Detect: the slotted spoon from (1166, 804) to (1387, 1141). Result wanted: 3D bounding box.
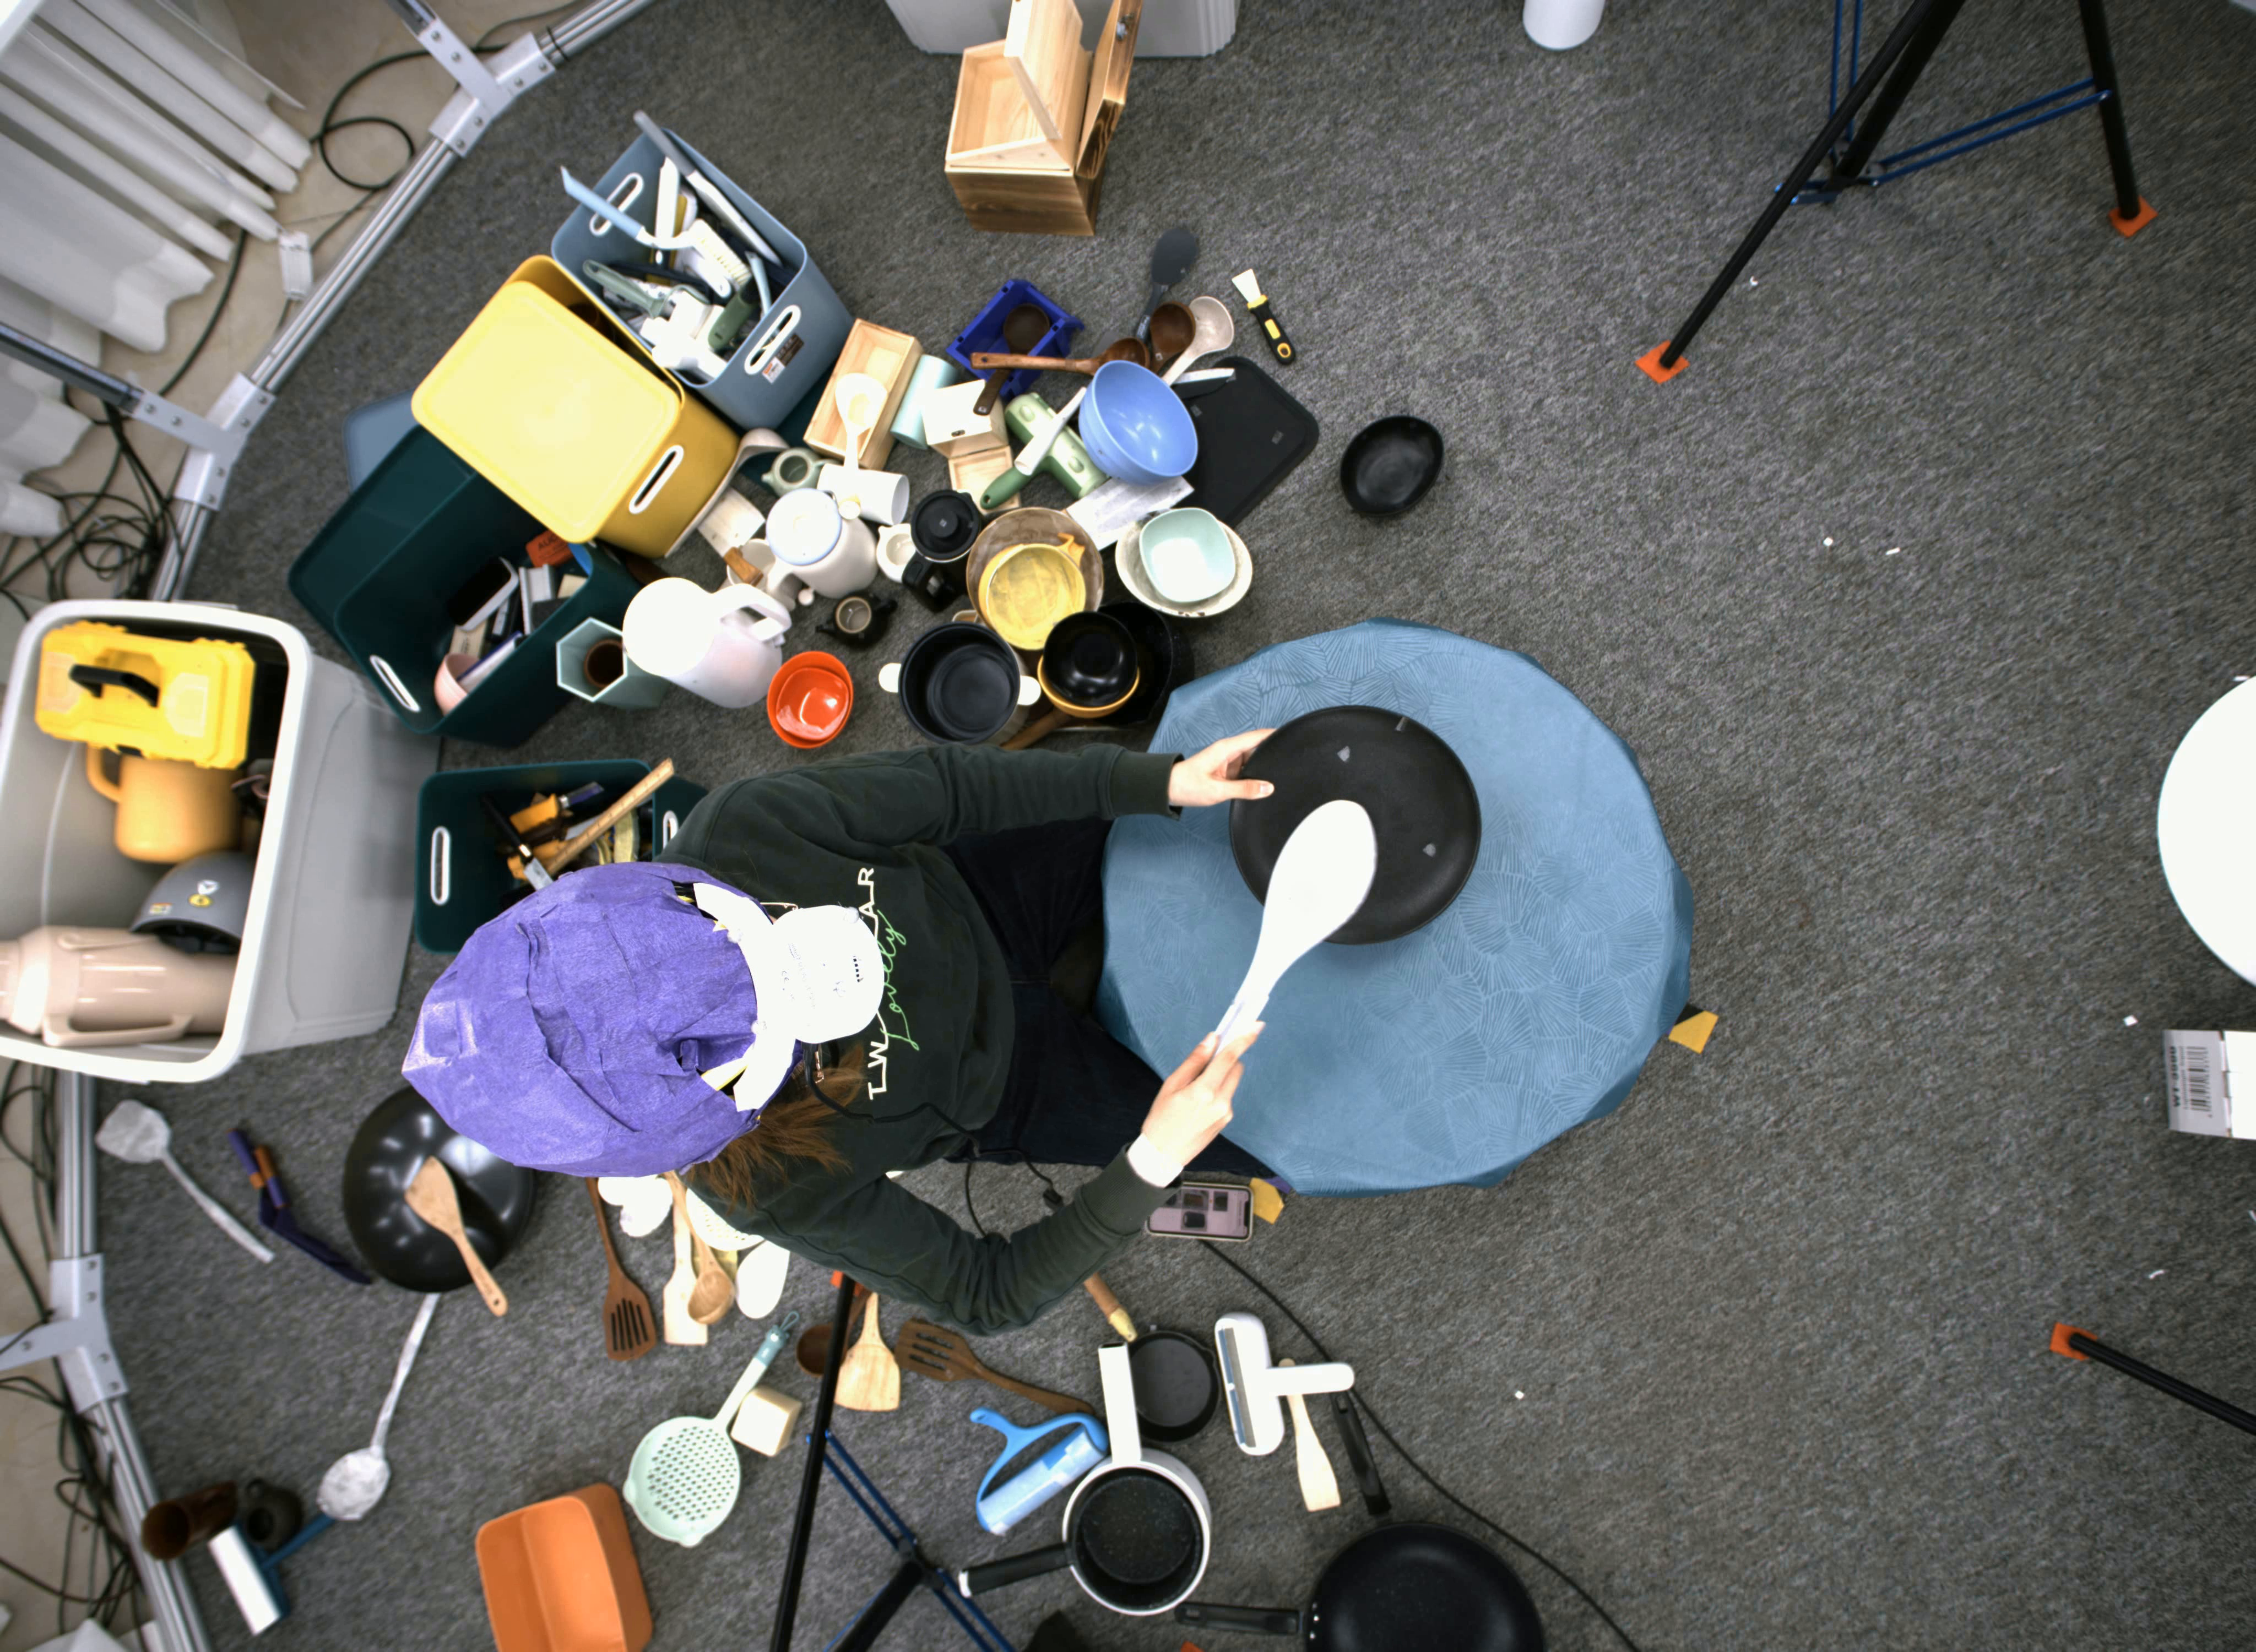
[{"bbox_3d":[0.130,0.136,1.247,0.046,0.134,0.352,31,100,-21],"label":"slotted spoon"}]

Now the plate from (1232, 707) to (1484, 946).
[{"bbox_3d":[0.224,0.000,1.352,0.245,0.023,0.248,4,109,11],"label":"plate"}]
